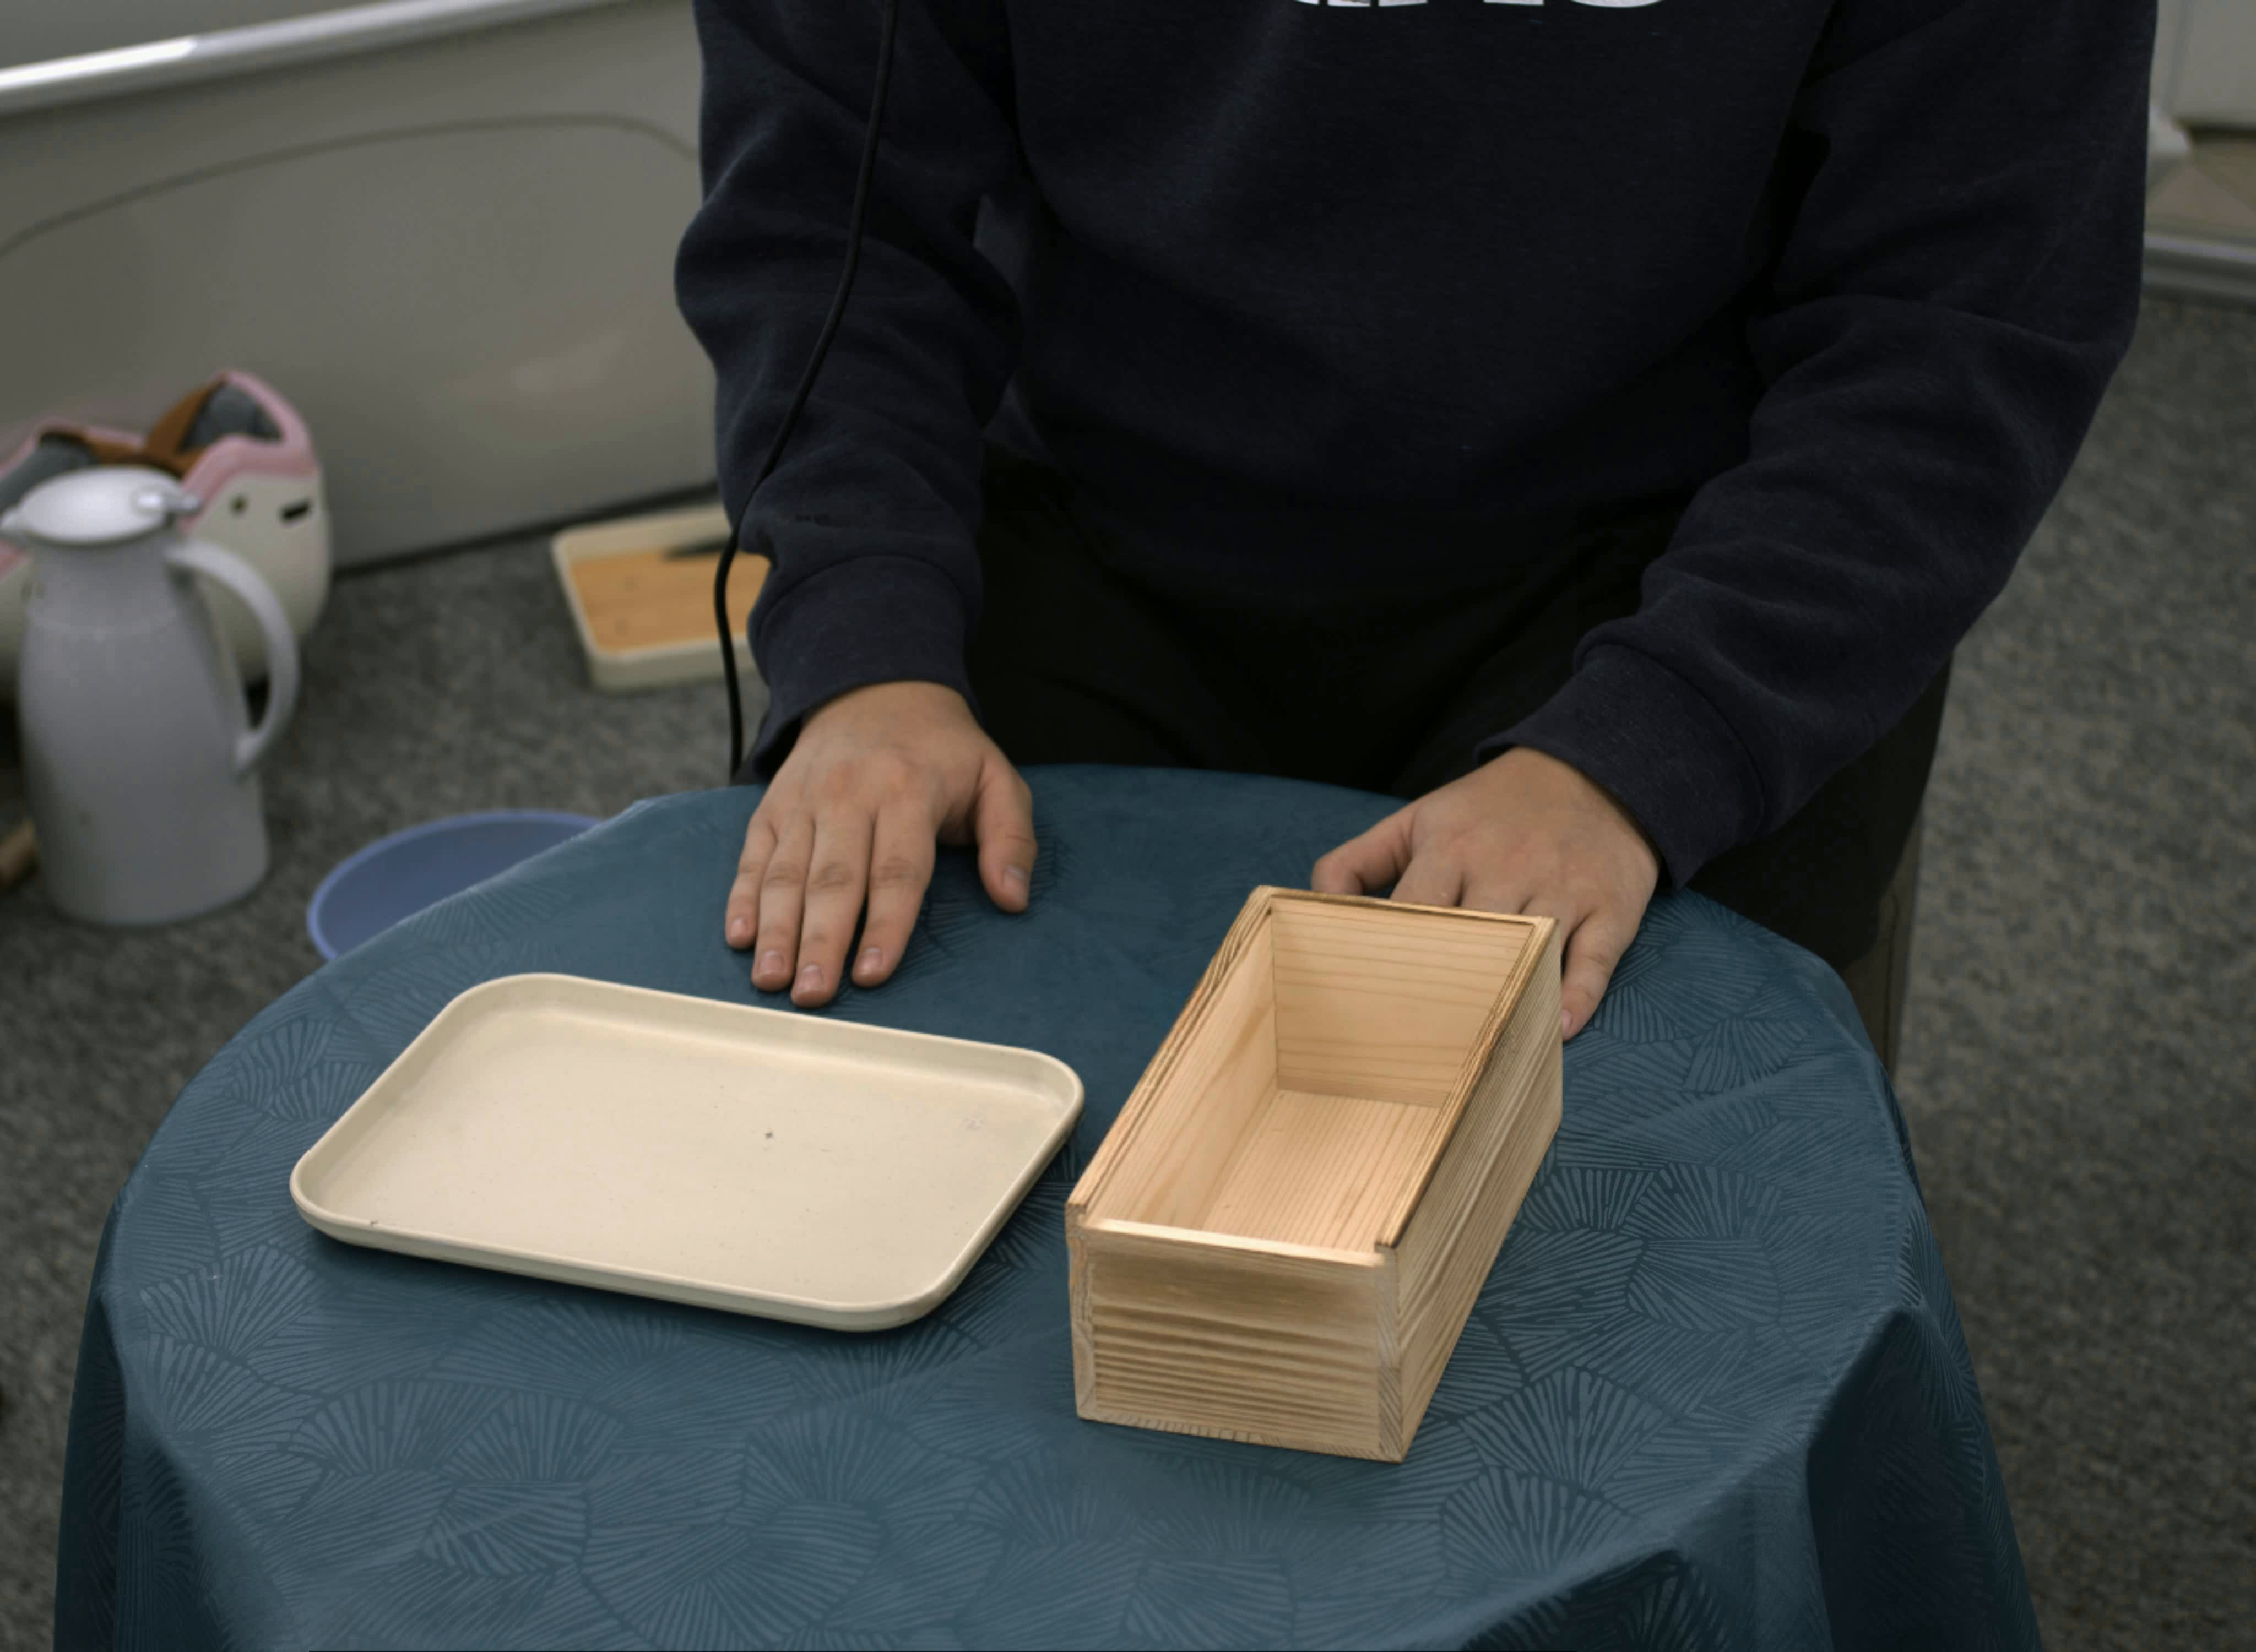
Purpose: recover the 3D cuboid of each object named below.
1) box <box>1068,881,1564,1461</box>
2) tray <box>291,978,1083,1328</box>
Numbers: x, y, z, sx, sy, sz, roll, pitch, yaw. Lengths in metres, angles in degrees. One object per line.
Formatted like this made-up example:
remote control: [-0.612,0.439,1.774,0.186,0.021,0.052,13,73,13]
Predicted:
box: [0.064,0.107,1.802,0.107,0.079,0.215,6,28,16]
tray: [-0.146,0.110,1.882,0.238,0.017,0.174,8,29,19]
